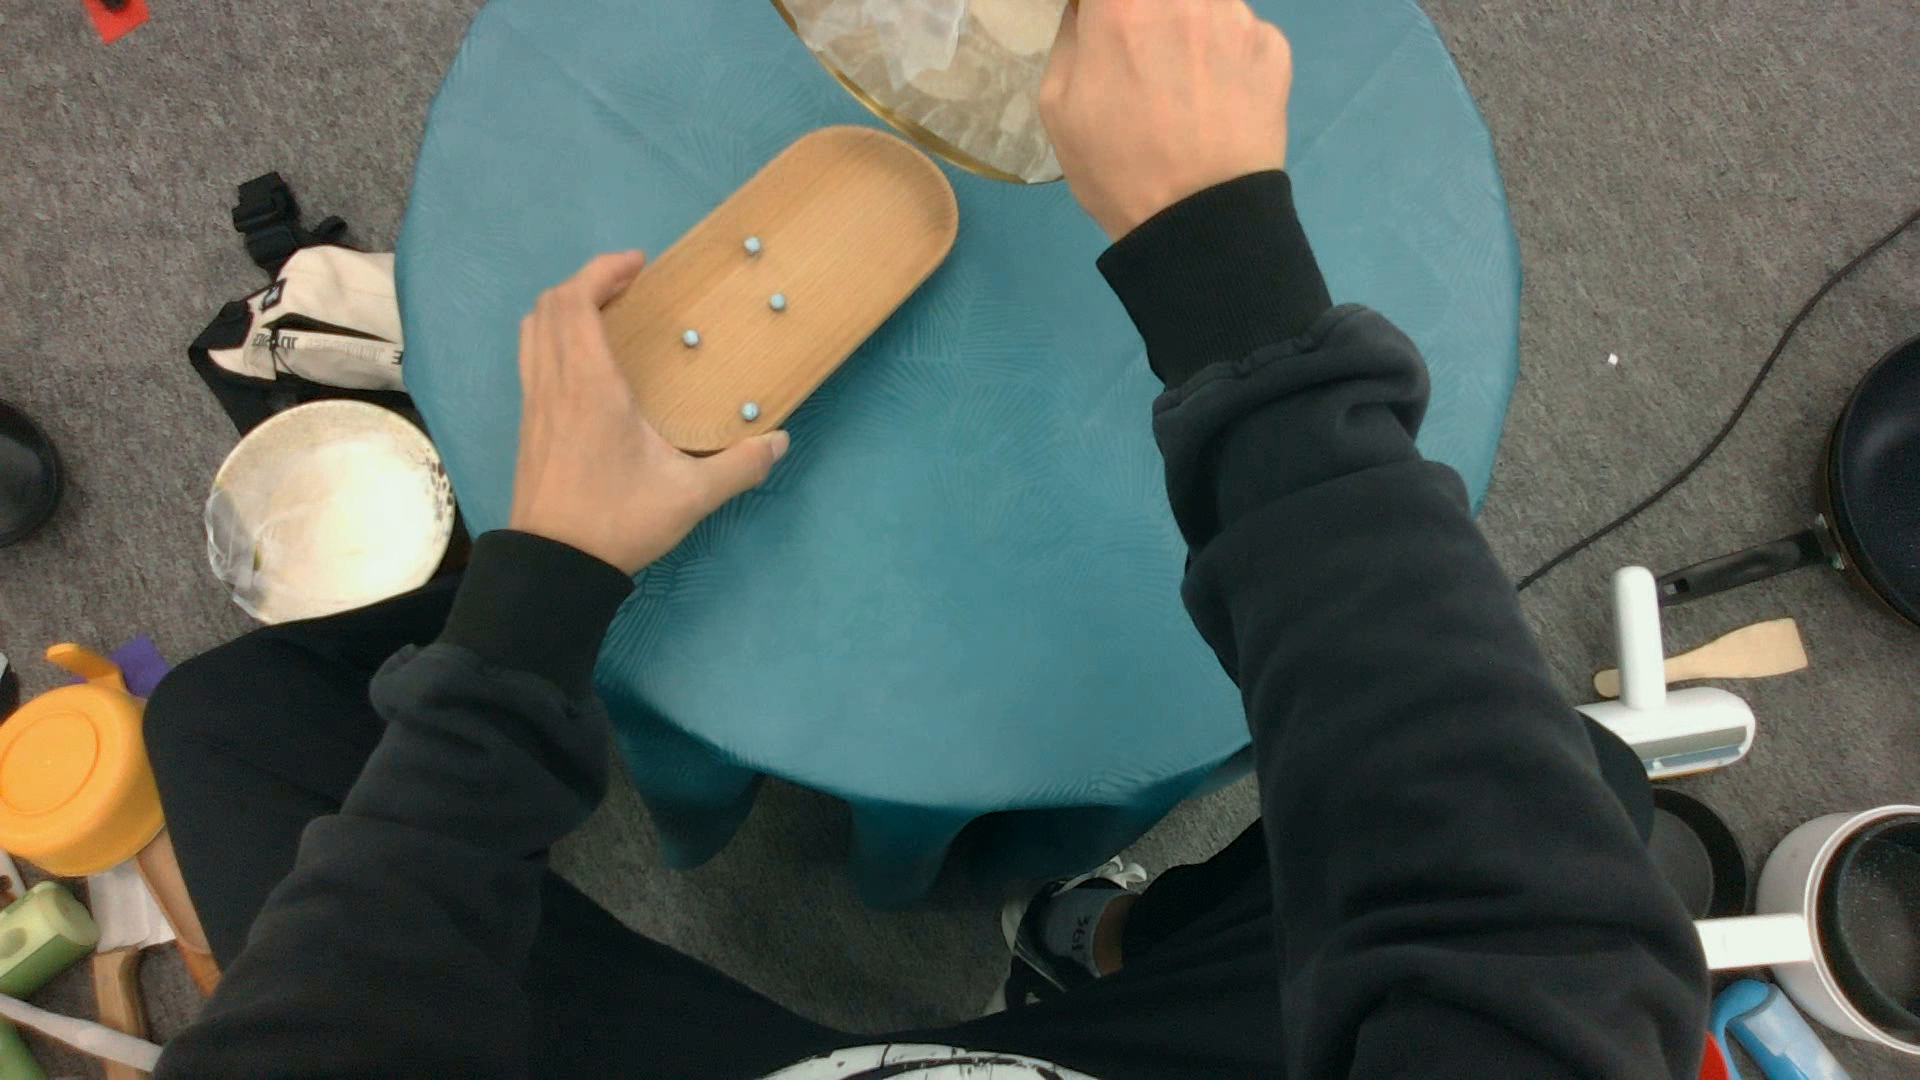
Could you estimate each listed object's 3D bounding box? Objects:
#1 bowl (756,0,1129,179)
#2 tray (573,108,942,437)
[{"bbox_3d":[-0.006,-0.258,0.575,0.215,0.214,0.095,35,77,4],"label":"bowl"},{"bbox_3d":[-0.097,-0.139,0.693,0.101,0.020,0.232,39,60,2],"label":"tray"}]
